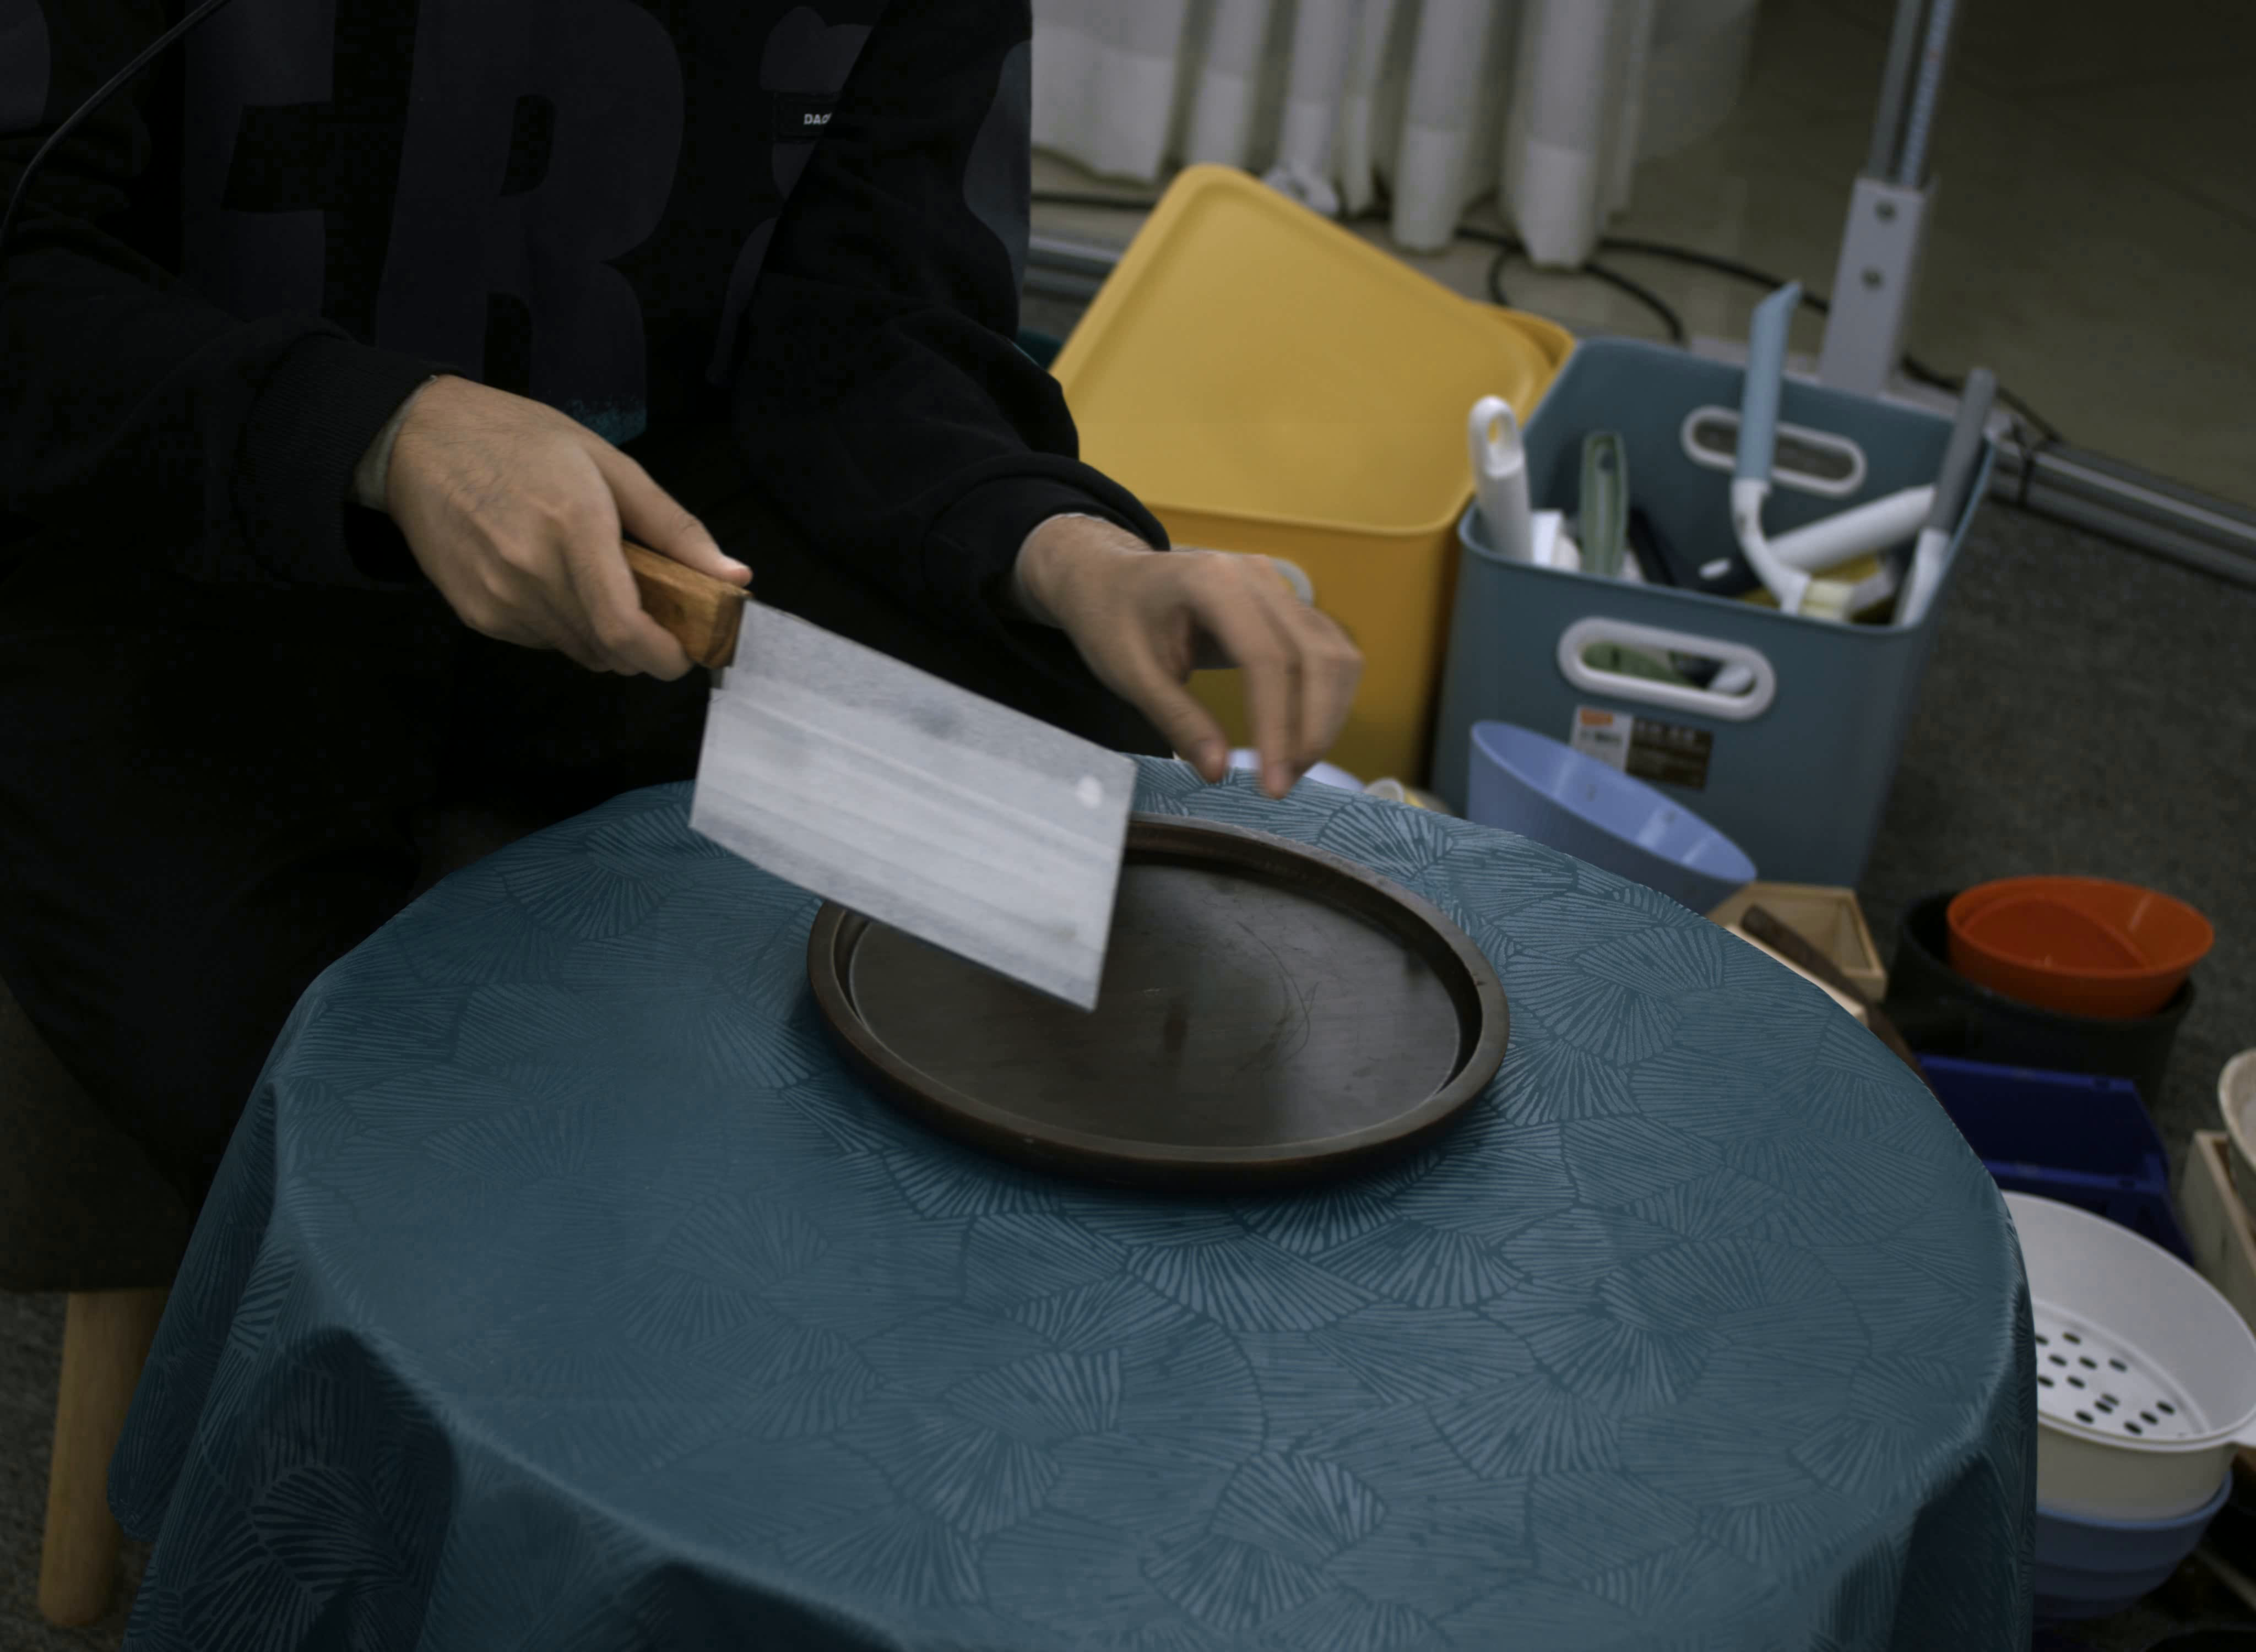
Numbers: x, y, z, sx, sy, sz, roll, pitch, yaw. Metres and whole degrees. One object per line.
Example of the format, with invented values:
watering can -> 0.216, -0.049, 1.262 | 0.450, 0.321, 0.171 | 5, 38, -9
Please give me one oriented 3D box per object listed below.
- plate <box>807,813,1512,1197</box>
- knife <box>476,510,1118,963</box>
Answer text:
plate -> 0.011, 0.062, 1.899 | 0.254, 0.029, 0.256 | 6, 26, -3
knife -> -0.120, -0.030, 1.827 | 0.308, 0.093, 0.021 | 23, 21, 37
